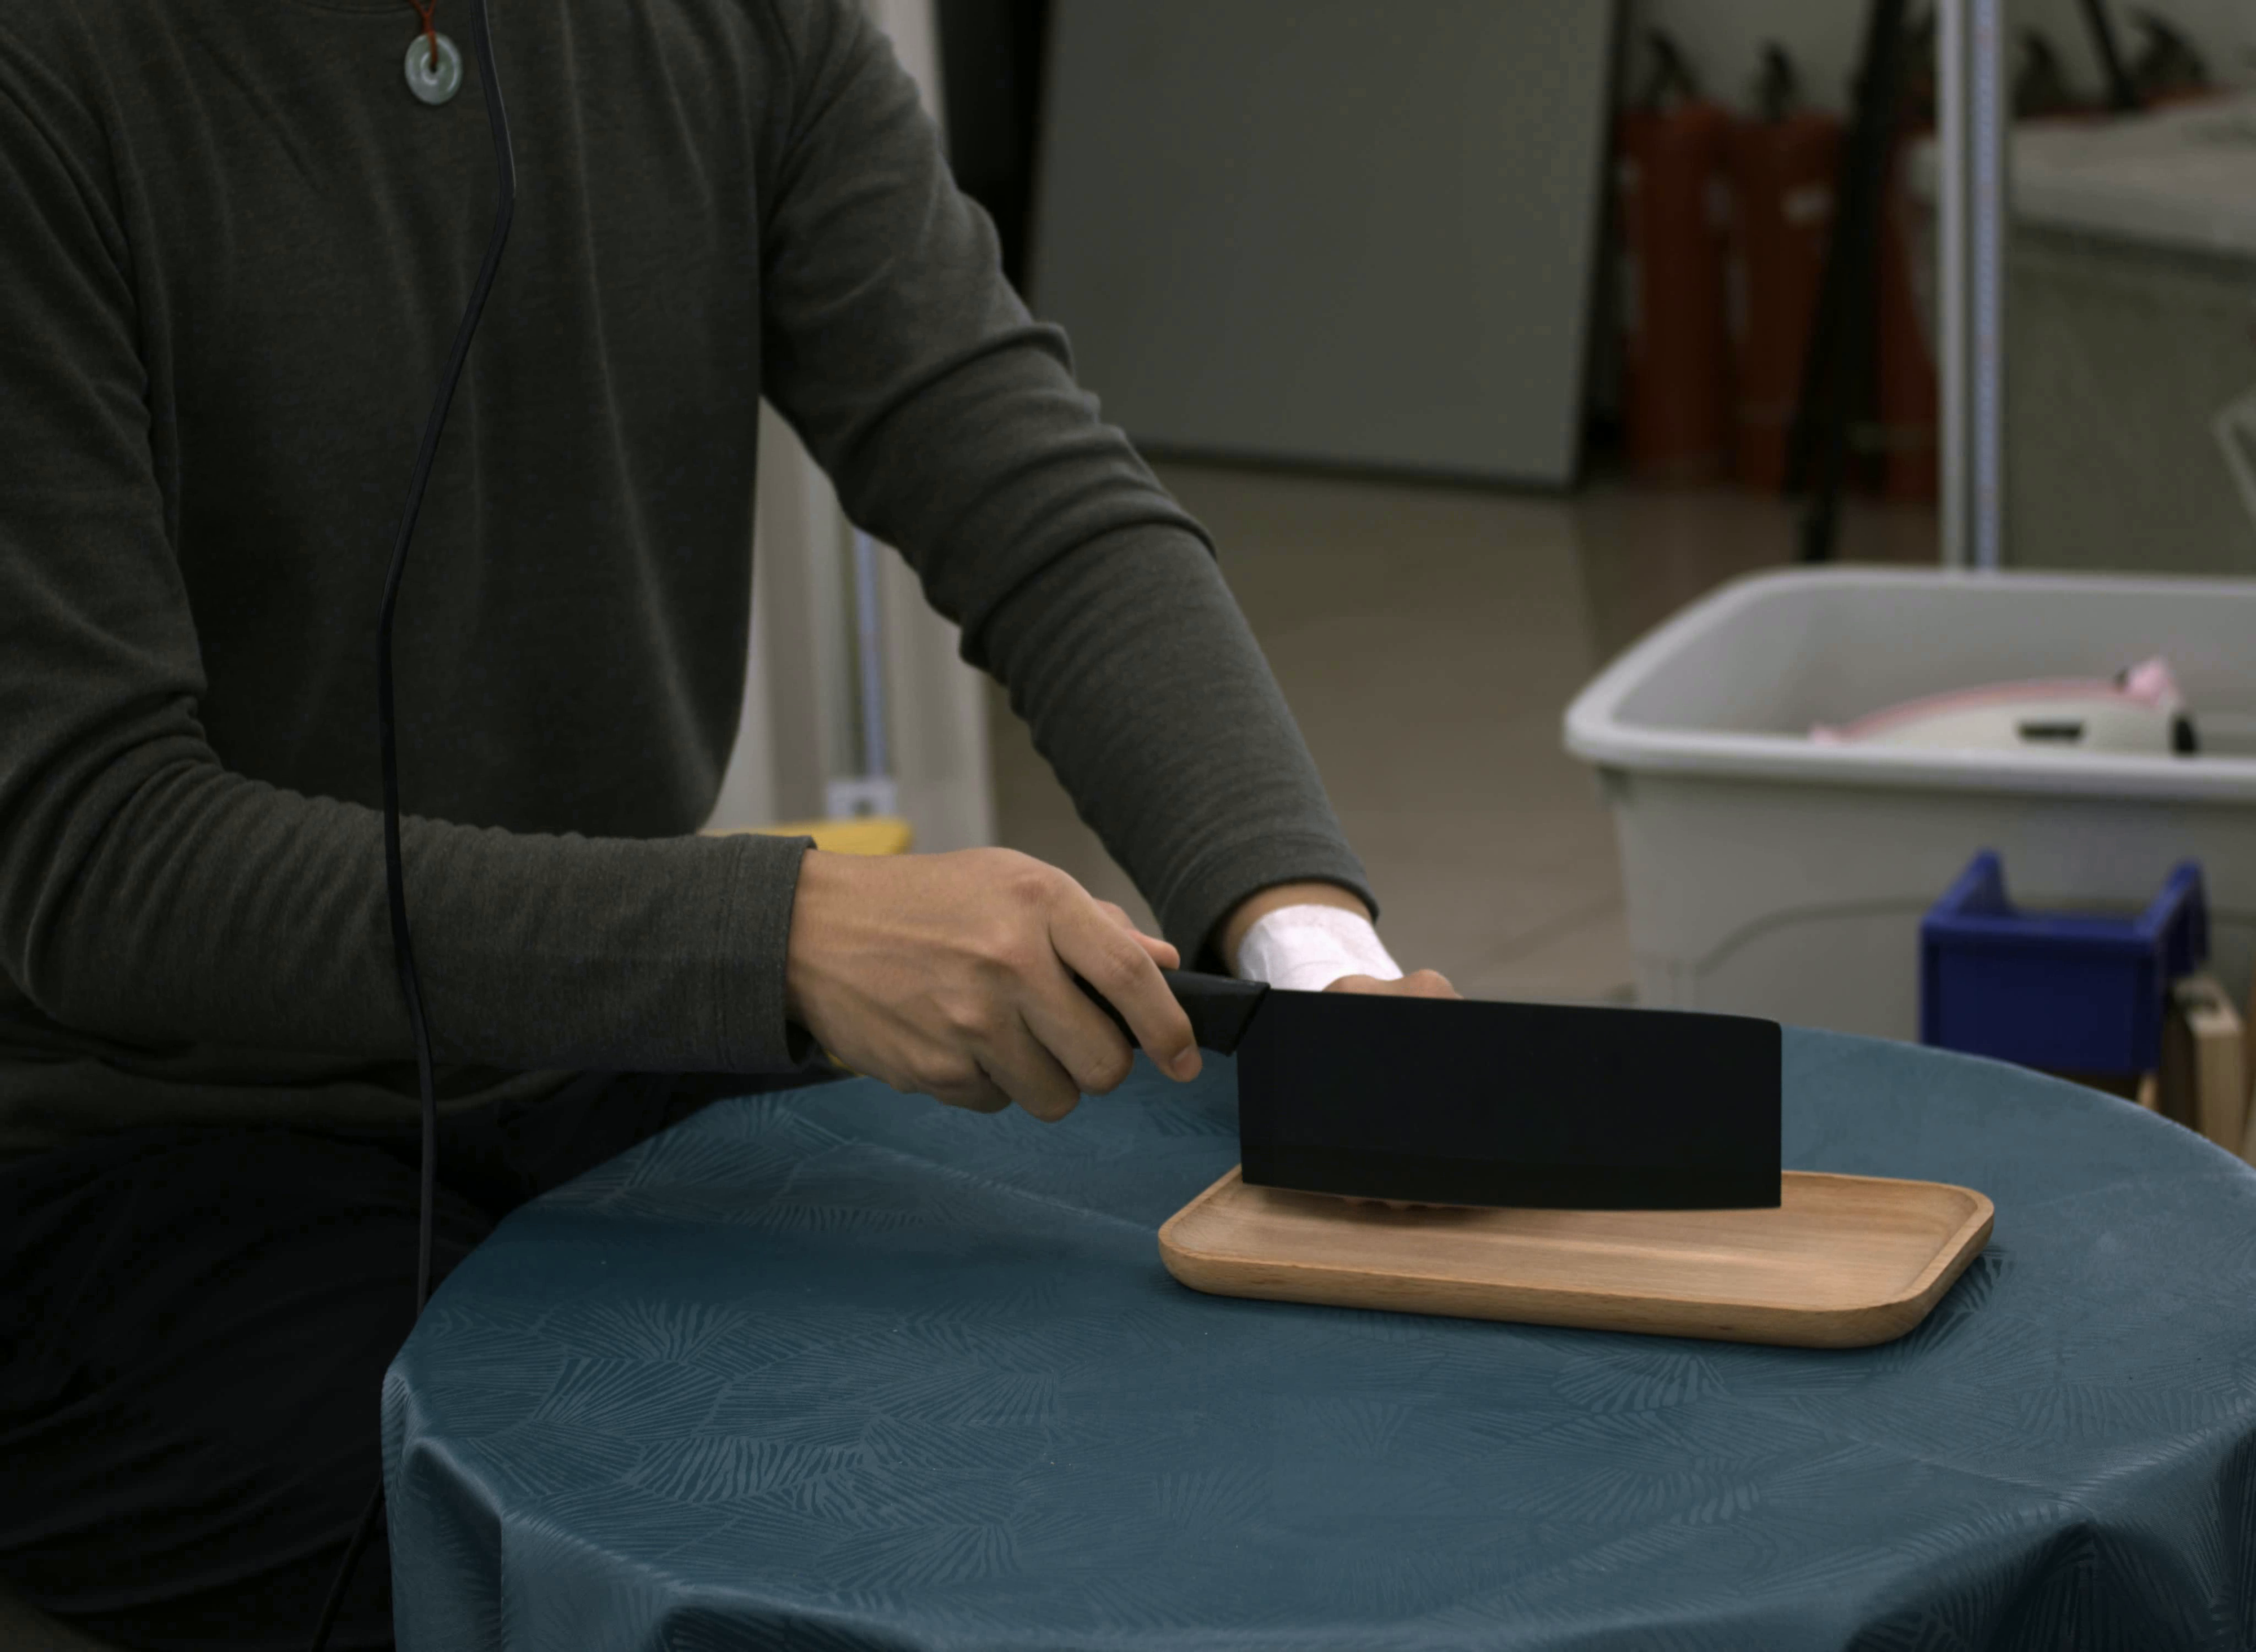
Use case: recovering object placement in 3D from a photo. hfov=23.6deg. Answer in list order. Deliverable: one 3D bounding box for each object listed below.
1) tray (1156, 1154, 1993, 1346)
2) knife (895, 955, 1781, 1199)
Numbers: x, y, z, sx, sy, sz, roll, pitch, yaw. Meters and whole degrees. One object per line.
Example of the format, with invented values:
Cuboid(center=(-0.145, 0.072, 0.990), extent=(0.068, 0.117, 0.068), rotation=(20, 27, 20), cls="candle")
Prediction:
Cuboid(center=(0.138, 0.129, 1.671), extent=(0.251, 0.023, 0.129), rotation=(1, 12, 27), cls="tray")
Cuboid(center=(0.063, 0.077, 1.690), extent=(0.303, 0.082, 0.020), rotation=(7, 9, 25), cls="knife")
